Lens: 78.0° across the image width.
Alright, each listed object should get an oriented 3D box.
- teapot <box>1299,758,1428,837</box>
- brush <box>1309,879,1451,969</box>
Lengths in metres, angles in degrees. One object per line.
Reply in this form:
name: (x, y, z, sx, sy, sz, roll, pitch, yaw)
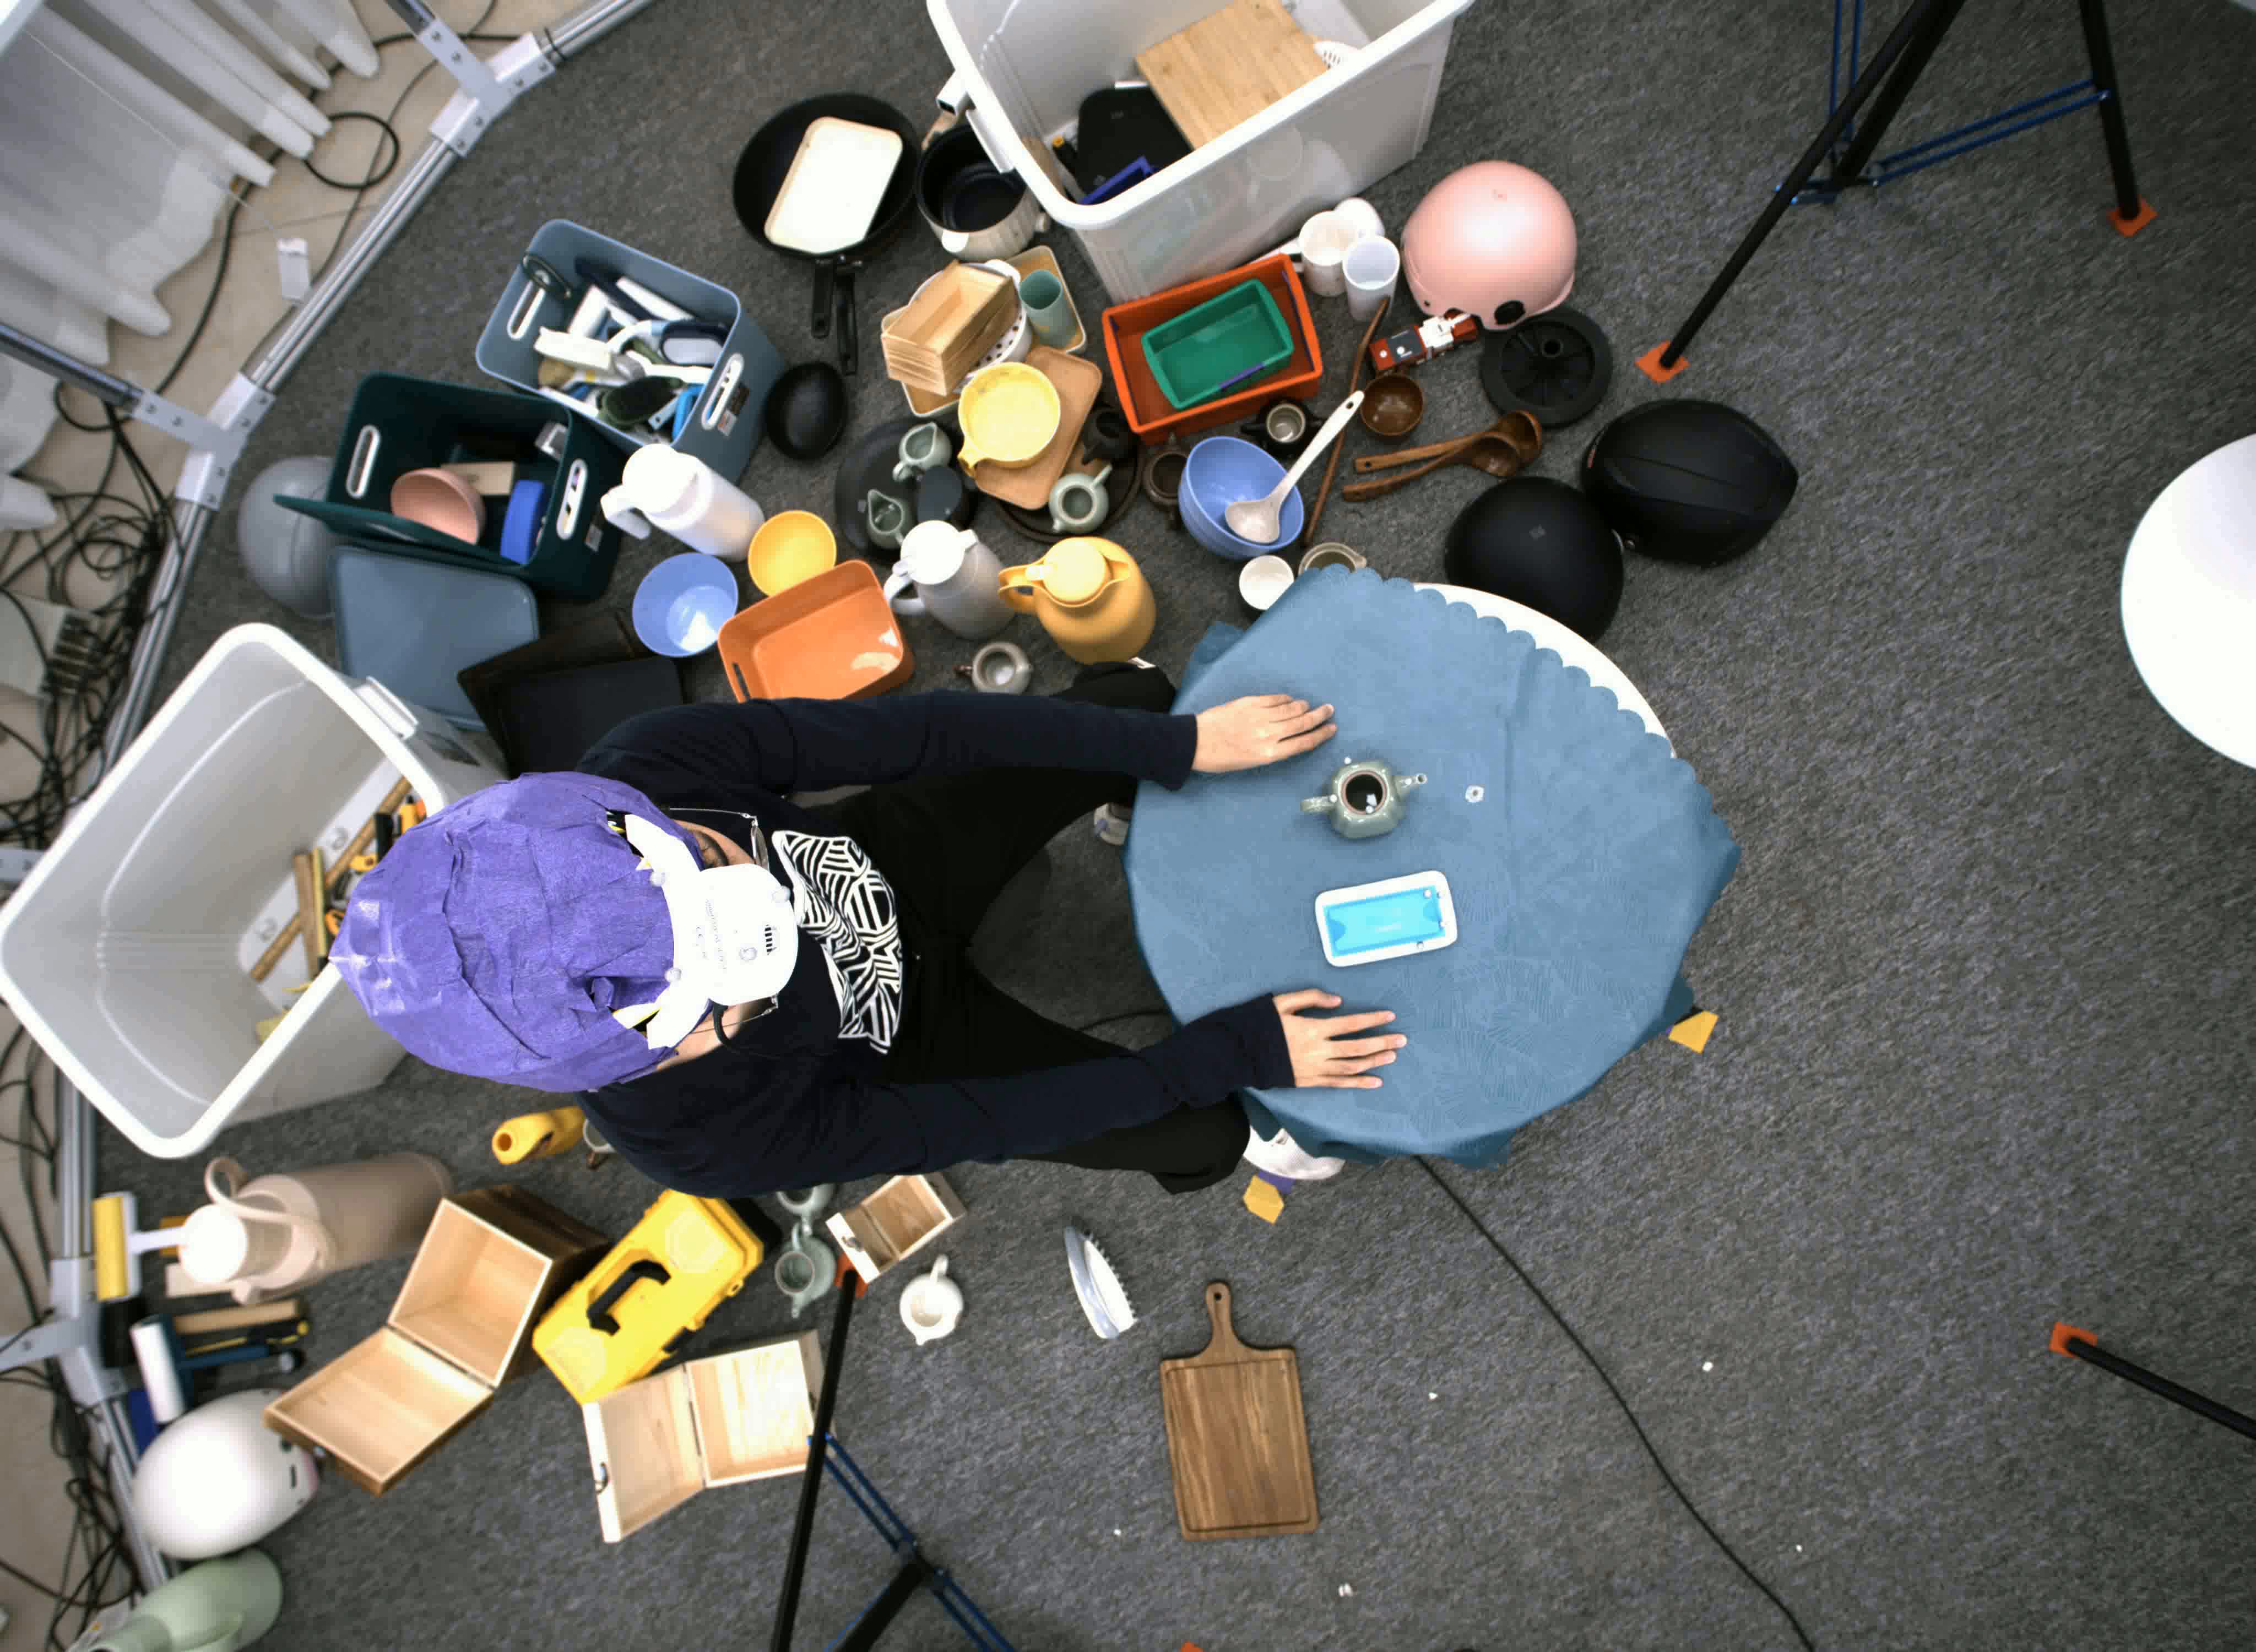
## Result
teapot: (0.245, -0.033, 1.432, 0.133, 0.075, 0.079, -13, 84, 11)
brush: (0.260, 0.097, 1.428, 0.144, 0.056, 0.083, -9, 82, 7)
